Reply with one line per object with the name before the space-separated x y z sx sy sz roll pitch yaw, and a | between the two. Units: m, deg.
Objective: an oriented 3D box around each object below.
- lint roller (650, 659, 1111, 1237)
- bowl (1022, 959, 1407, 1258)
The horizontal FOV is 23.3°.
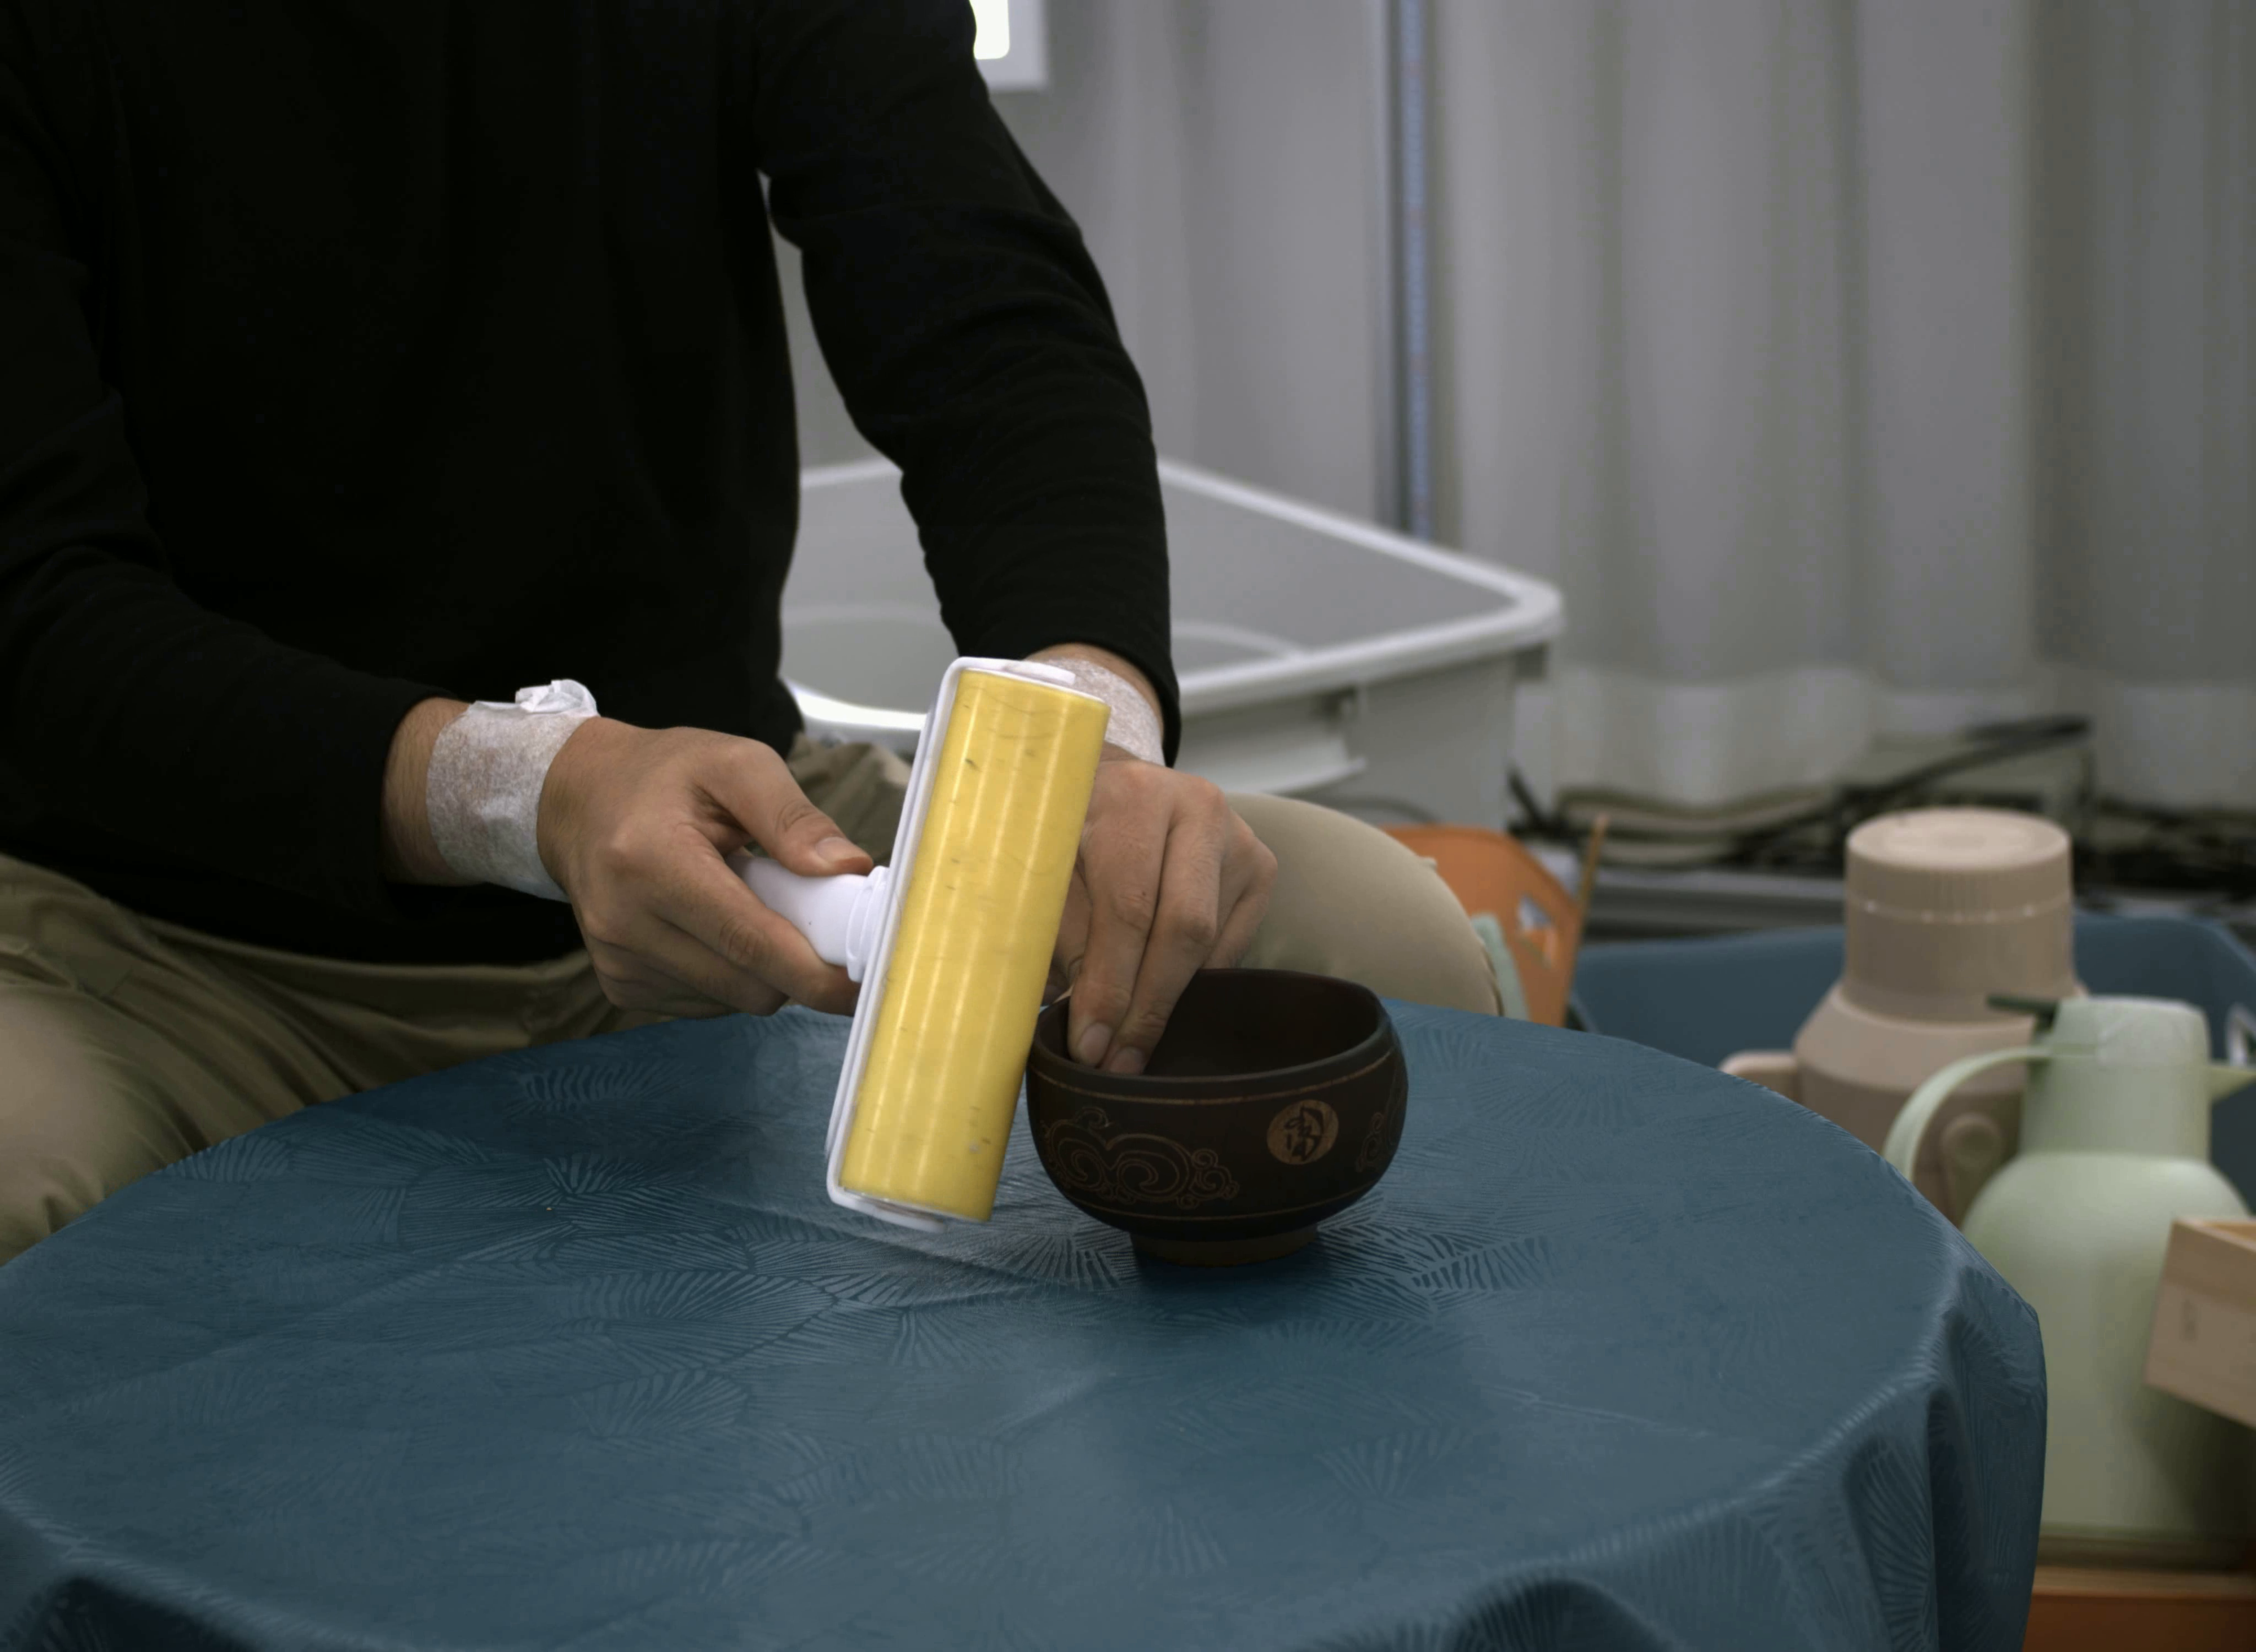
lint roller | -0.095 0.030 1.698 0.193 0.175 0.051 7 -8 43
bowl | 0.026 0.090 1.660 0.117 0.069 0.119 -1 14 0
